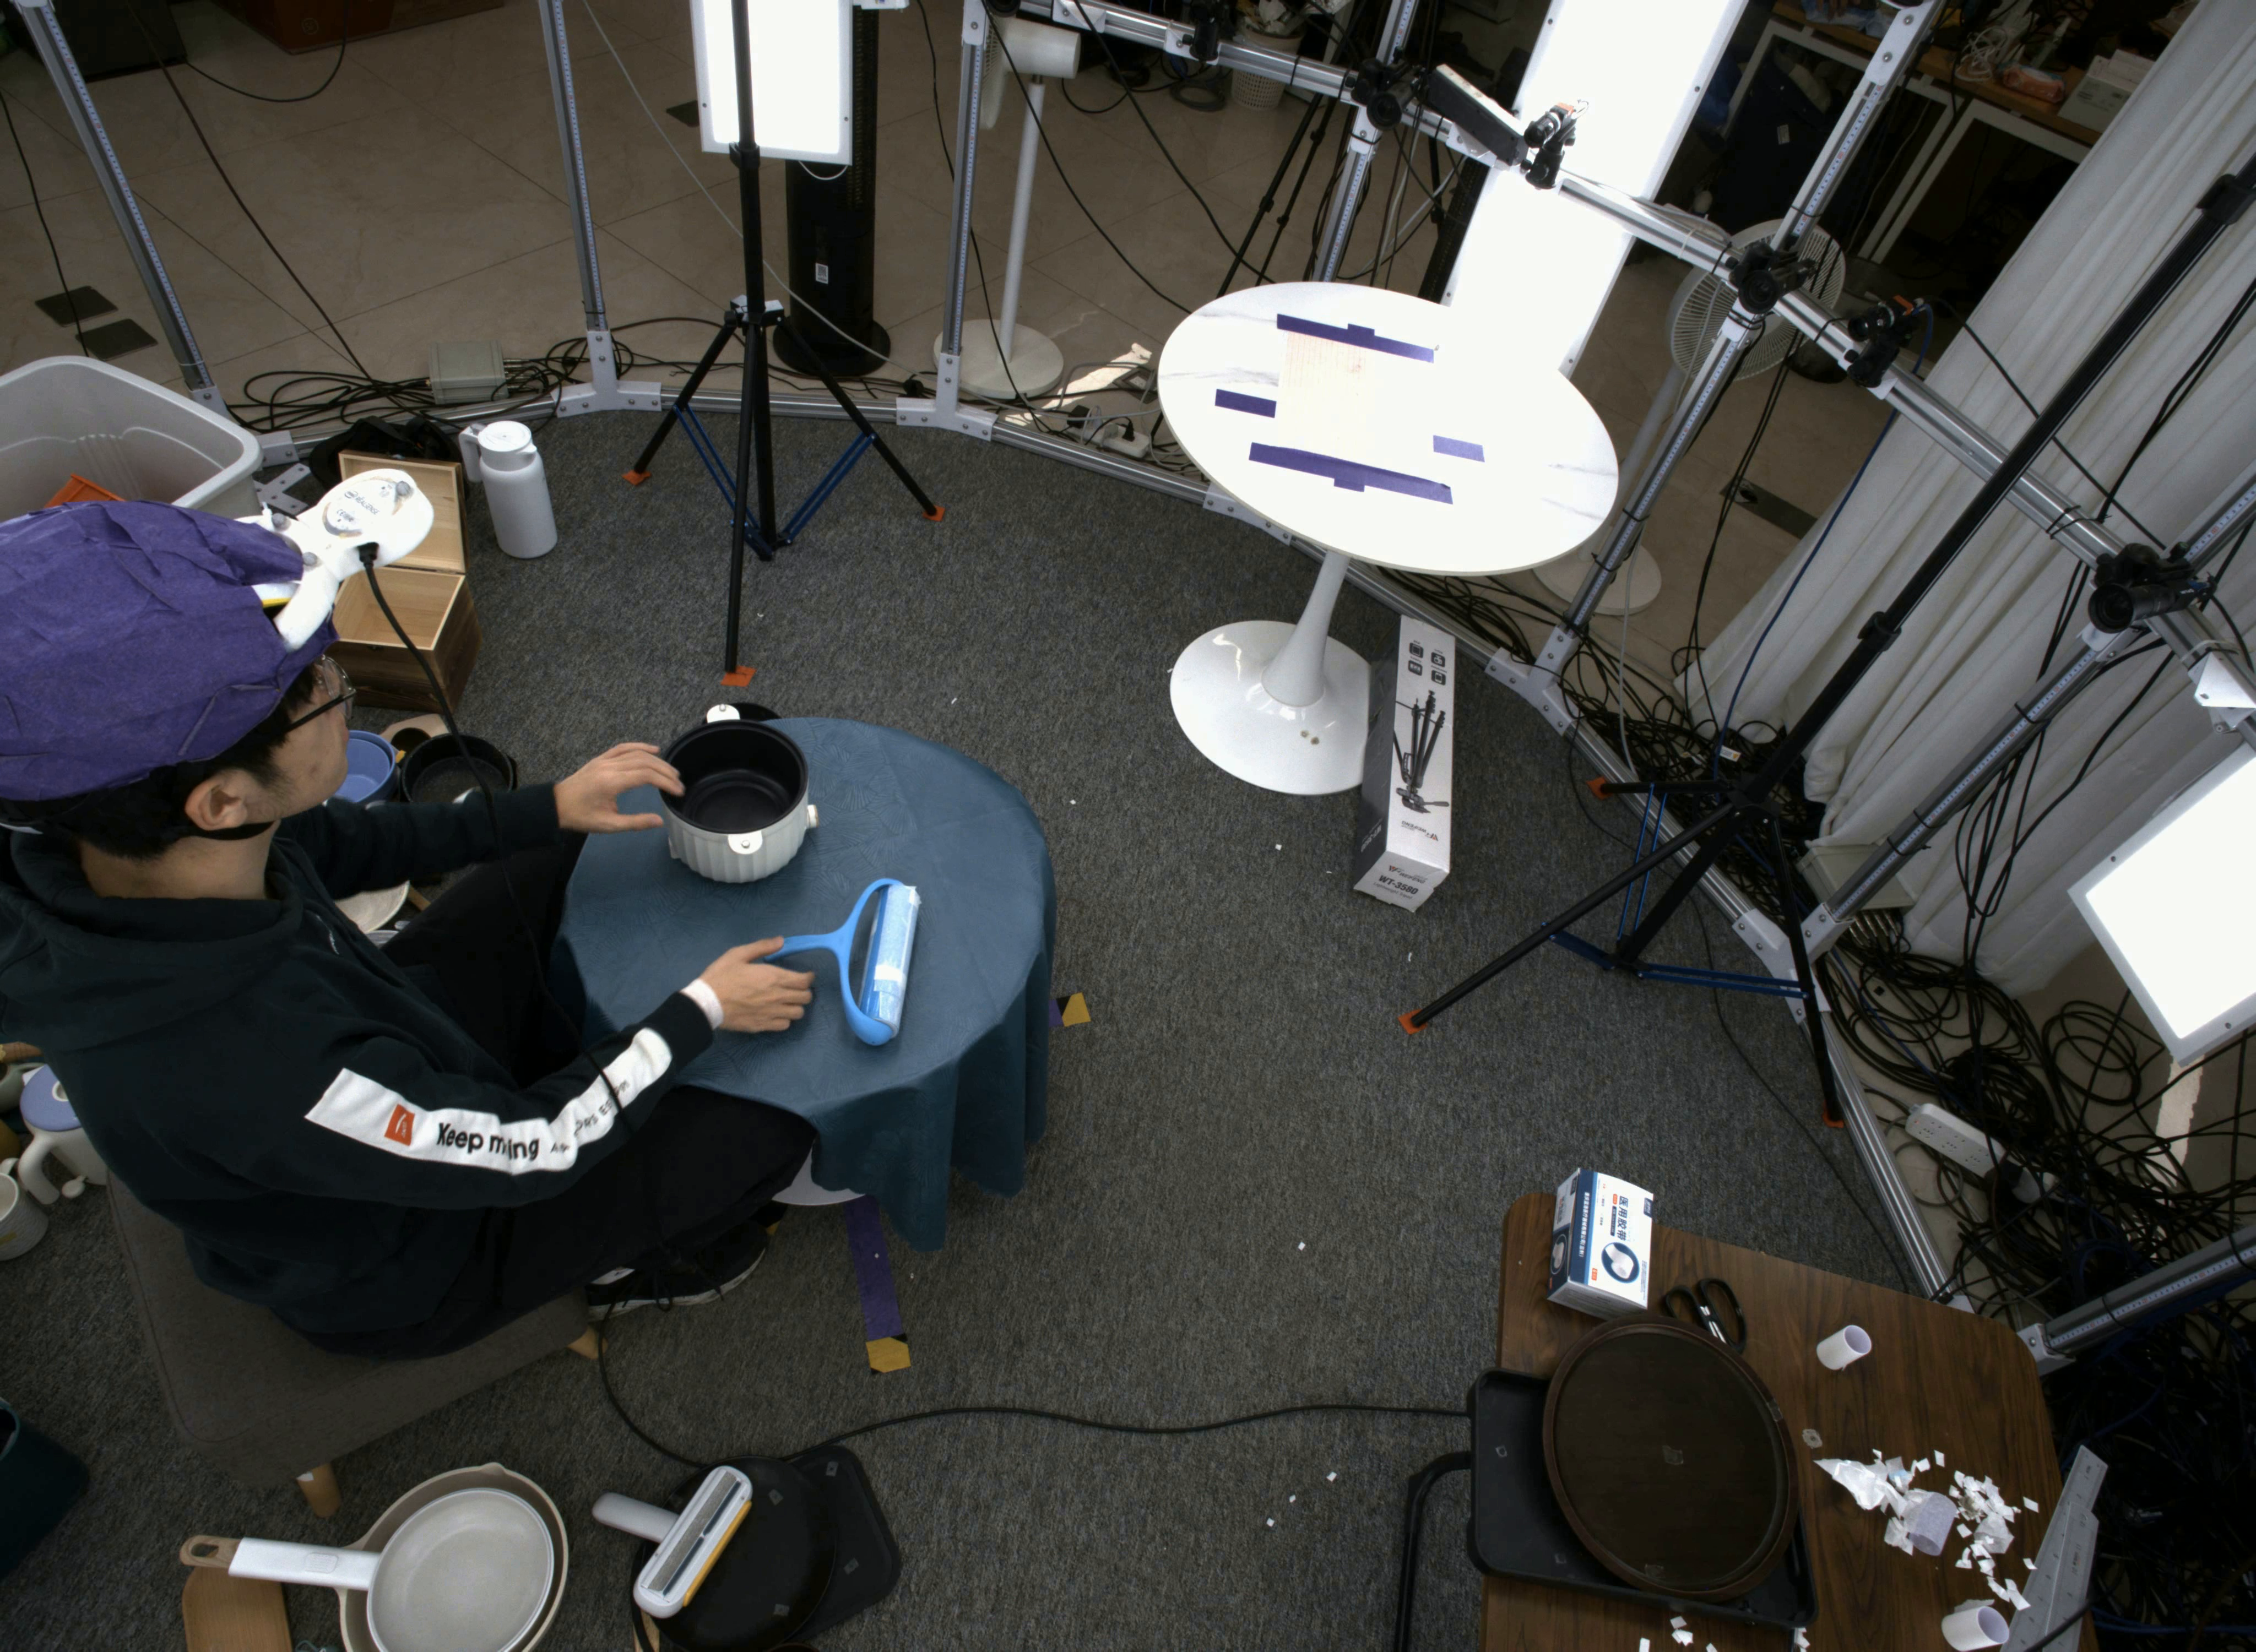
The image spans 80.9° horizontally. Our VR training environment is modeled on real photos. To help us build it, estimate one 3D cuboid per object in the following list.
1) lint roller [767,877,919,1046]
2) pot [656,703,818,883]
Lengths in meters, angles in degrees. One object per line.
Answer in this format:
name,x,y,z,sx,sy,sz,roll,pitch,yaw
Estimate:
lint roller,-0.354,0.156,1.596,0.180,0.069,0.225,7,55,-12
pot,-0.494,-0.028,1.642,0.191,0.145,0.235,-12,59,-18
